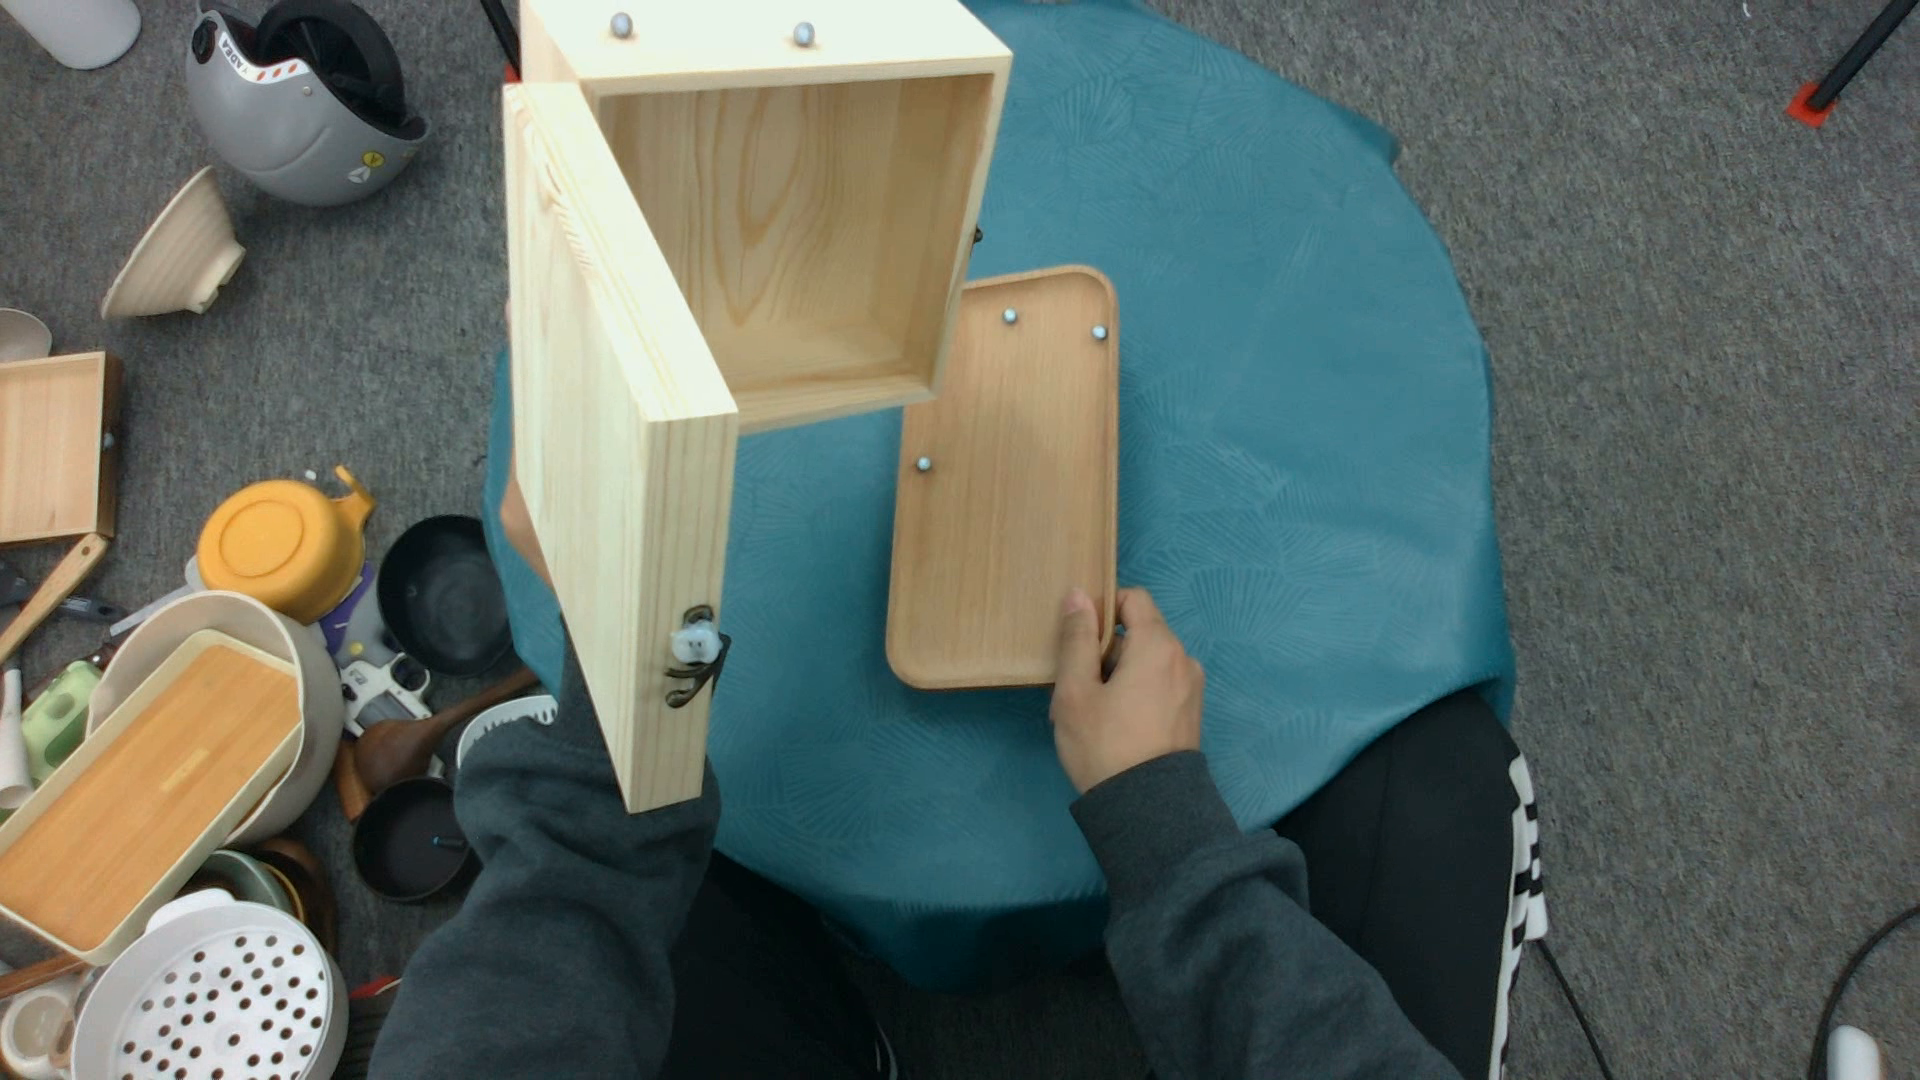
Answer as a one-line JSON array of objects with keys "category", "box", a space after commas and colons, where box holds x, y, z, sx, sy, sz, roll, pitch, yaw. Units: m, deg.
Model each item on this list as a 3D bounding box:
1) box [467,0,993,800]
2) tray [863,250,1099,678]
[{"category": "box", "box": [-0.088, -0.081, 0.544, 0.266, 0.181, 0.254, -14, 53, -27]}, {"category": "tray", "box": [0.014, -0.046, 0.759, 0.130, 0.023, 0.251, -6, 66, 22]}]
